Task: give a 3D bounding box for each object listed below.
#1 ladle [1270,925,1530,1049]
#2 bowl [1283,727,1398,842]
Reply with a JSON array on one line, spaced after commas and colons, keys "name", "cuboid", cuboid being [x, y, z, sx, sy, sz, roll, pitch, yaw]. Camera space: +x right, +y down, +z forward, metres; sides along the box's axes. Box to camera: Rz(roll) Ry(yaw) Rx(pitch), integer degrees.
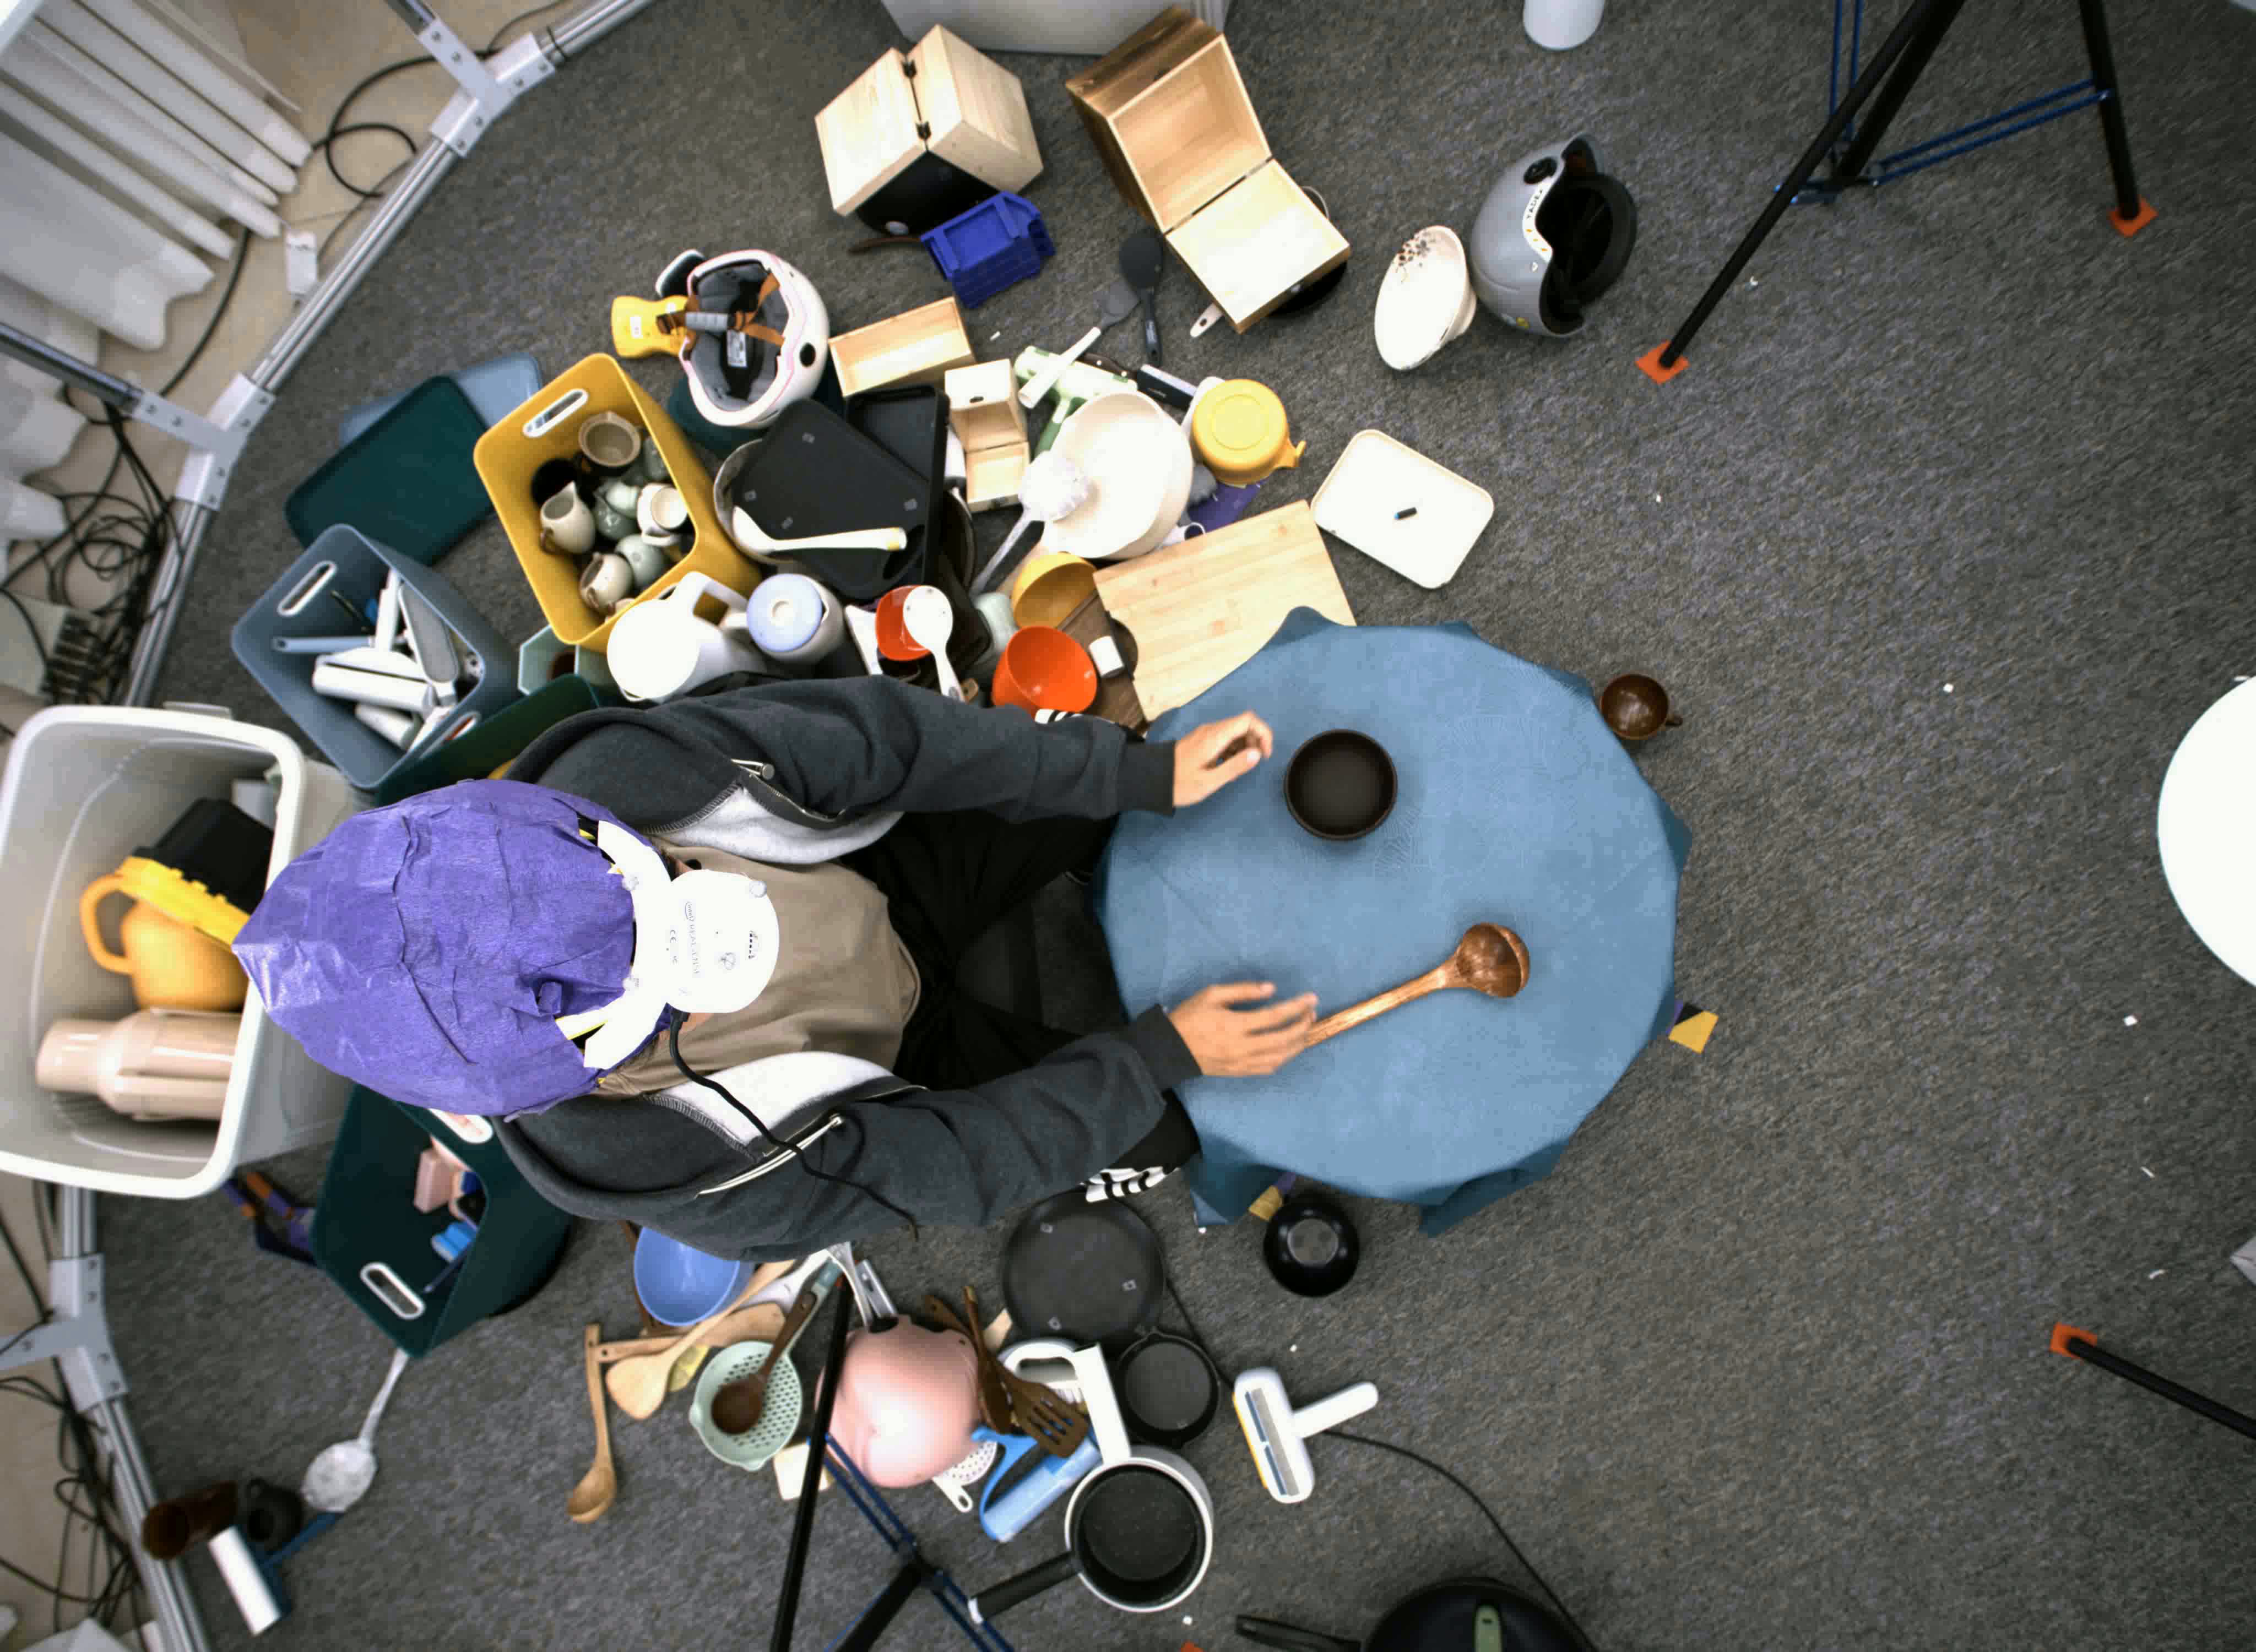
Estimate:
[{"name": "ladle", "cuboid": [0.276, 0.177, 1.413, 0.275, 0.076, 0.081, -22, 87, 8]}, {"name": "bowl", "cuboid": [0.222, -0.042, 1.437, 0.118, 0.070, 0.117, -1, 86, 10]}]
